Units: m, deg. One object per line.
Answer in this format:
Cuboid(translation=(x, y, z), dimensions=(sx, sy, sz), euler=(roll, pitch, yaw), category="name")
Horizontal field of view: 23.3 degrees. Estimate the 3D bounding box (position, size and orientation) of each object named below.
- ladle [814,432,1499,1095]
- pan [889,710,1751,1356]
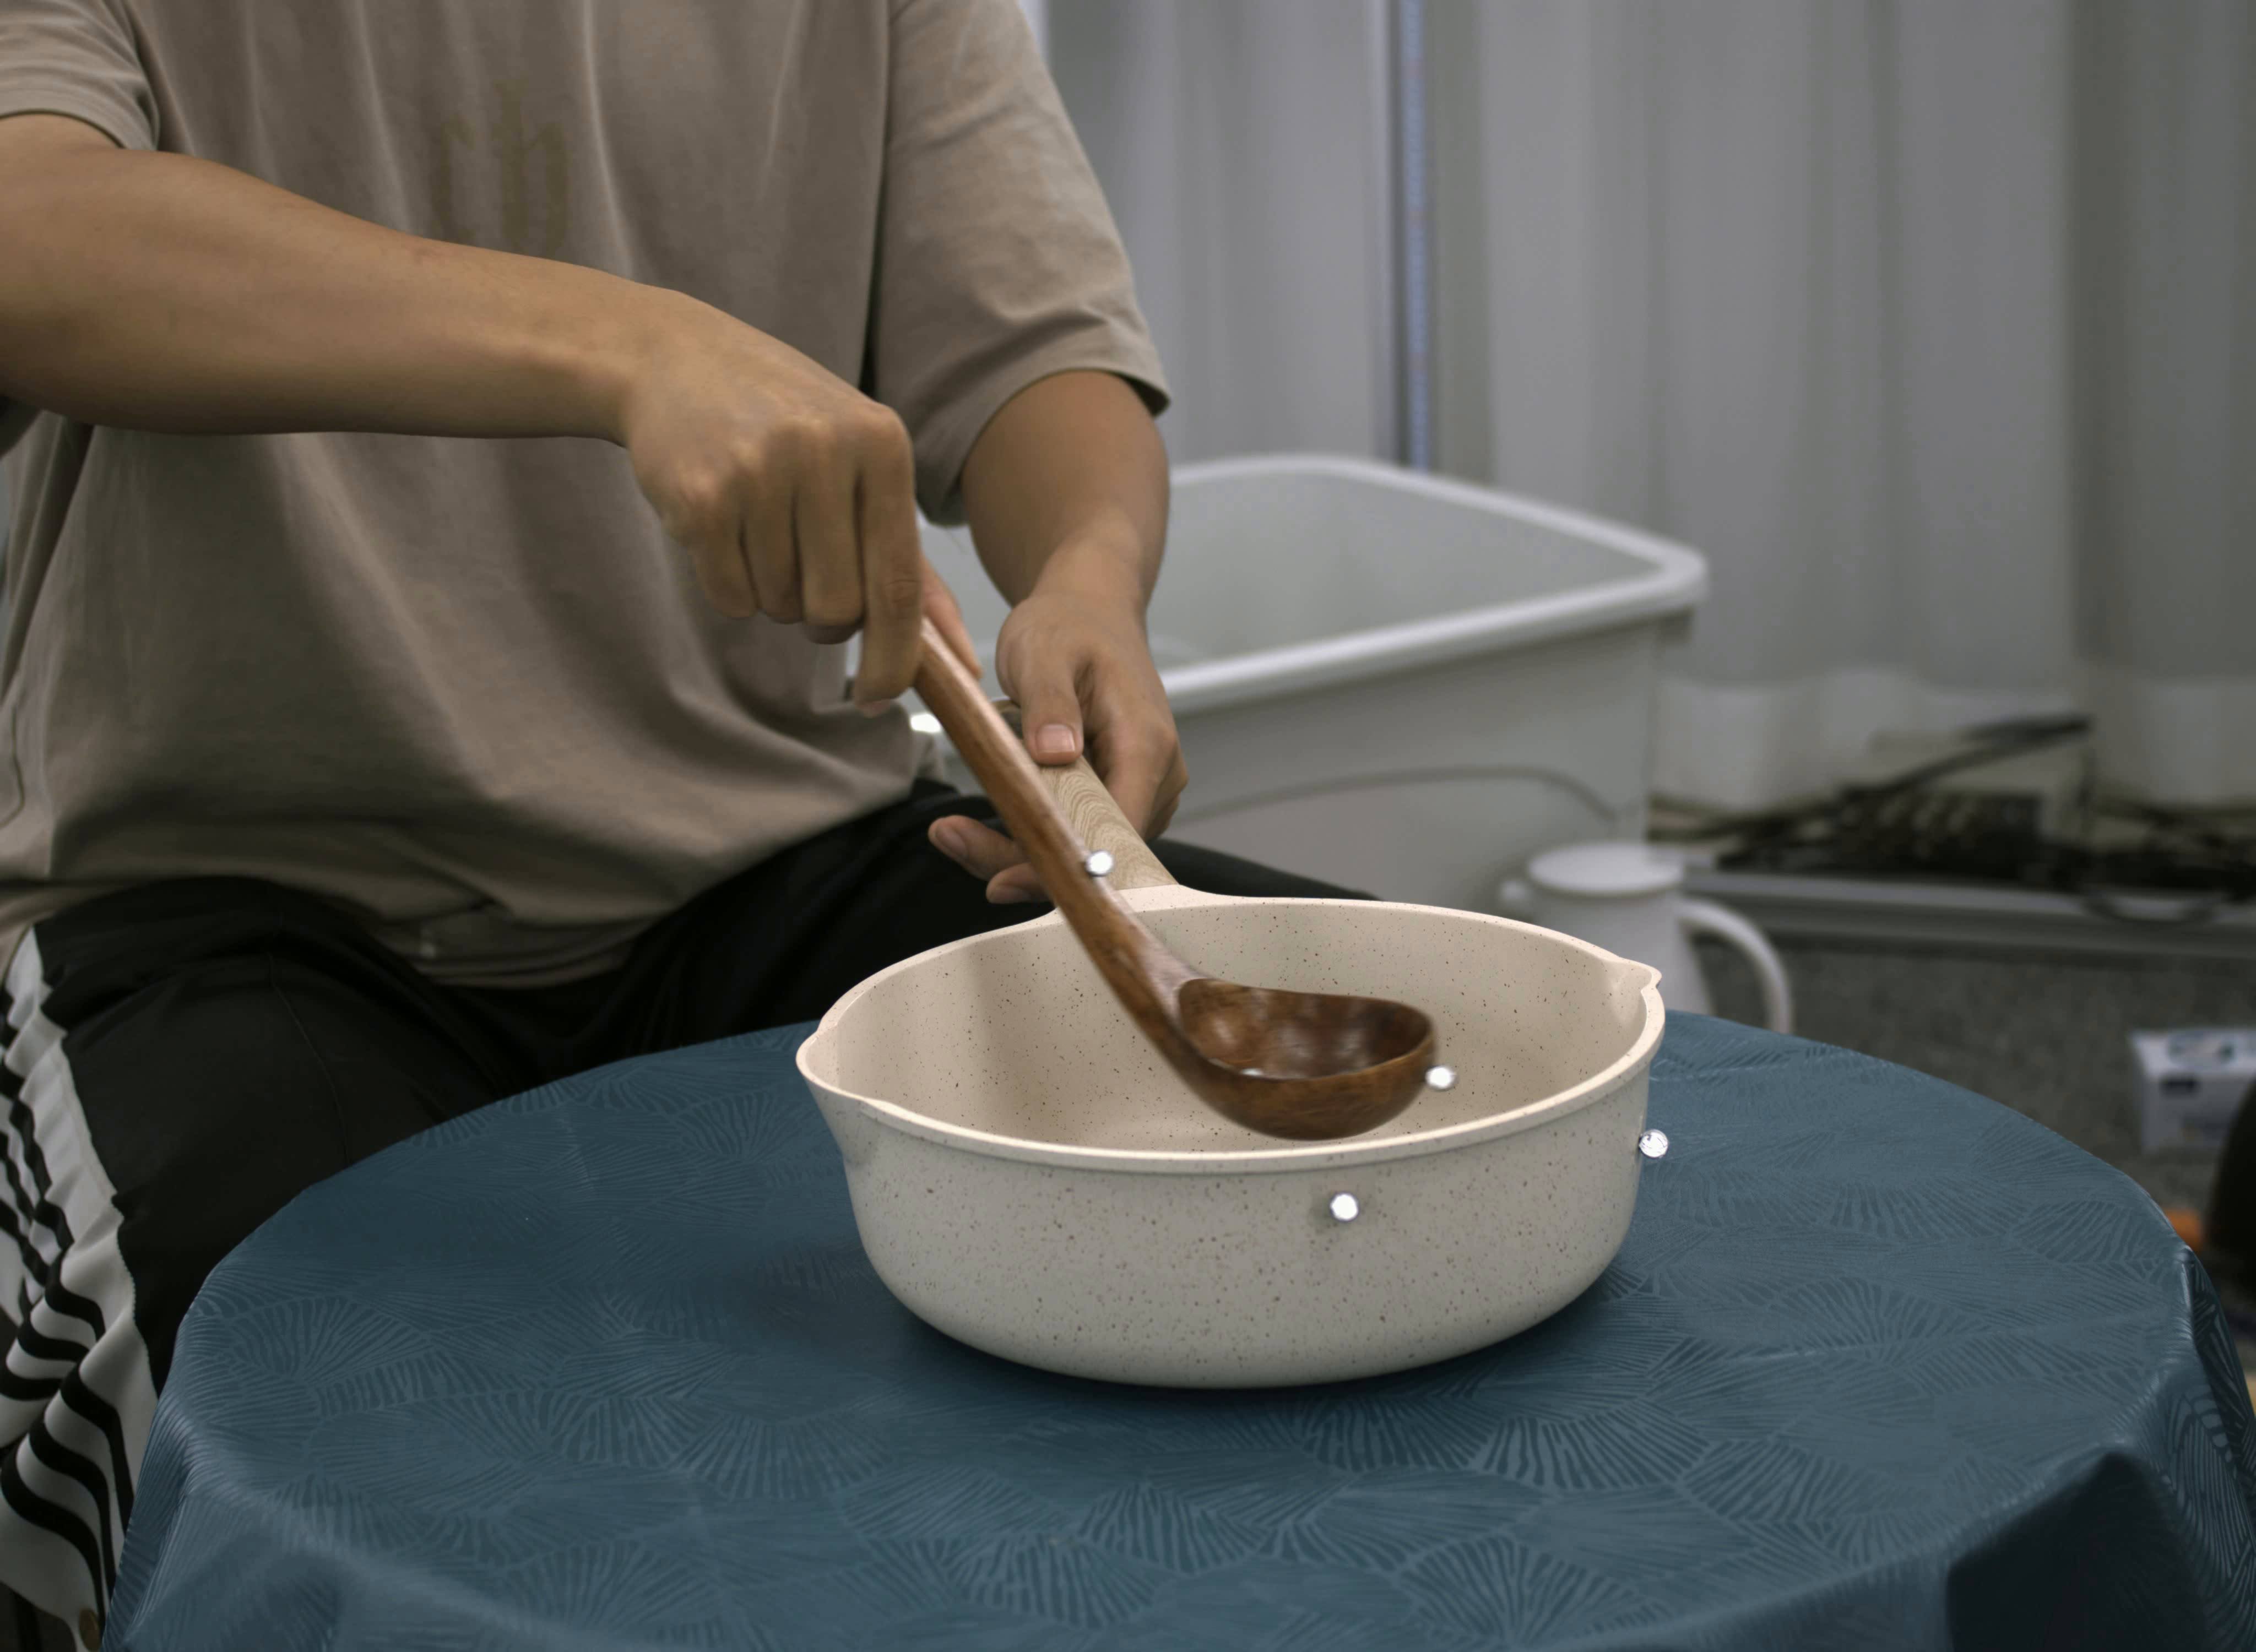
Cuboid(translation=(0.011, -0.022, 1.661), dimensions=(0.076, 0.274, 0.082), euler=(-35, 0, 20), category="ladle")
Cuboid(translation=(0.037, 0.058, 1.712), dimensions=(0.262, 0.101, 0.438), euler=(-8, 15, -13), category="pan")
